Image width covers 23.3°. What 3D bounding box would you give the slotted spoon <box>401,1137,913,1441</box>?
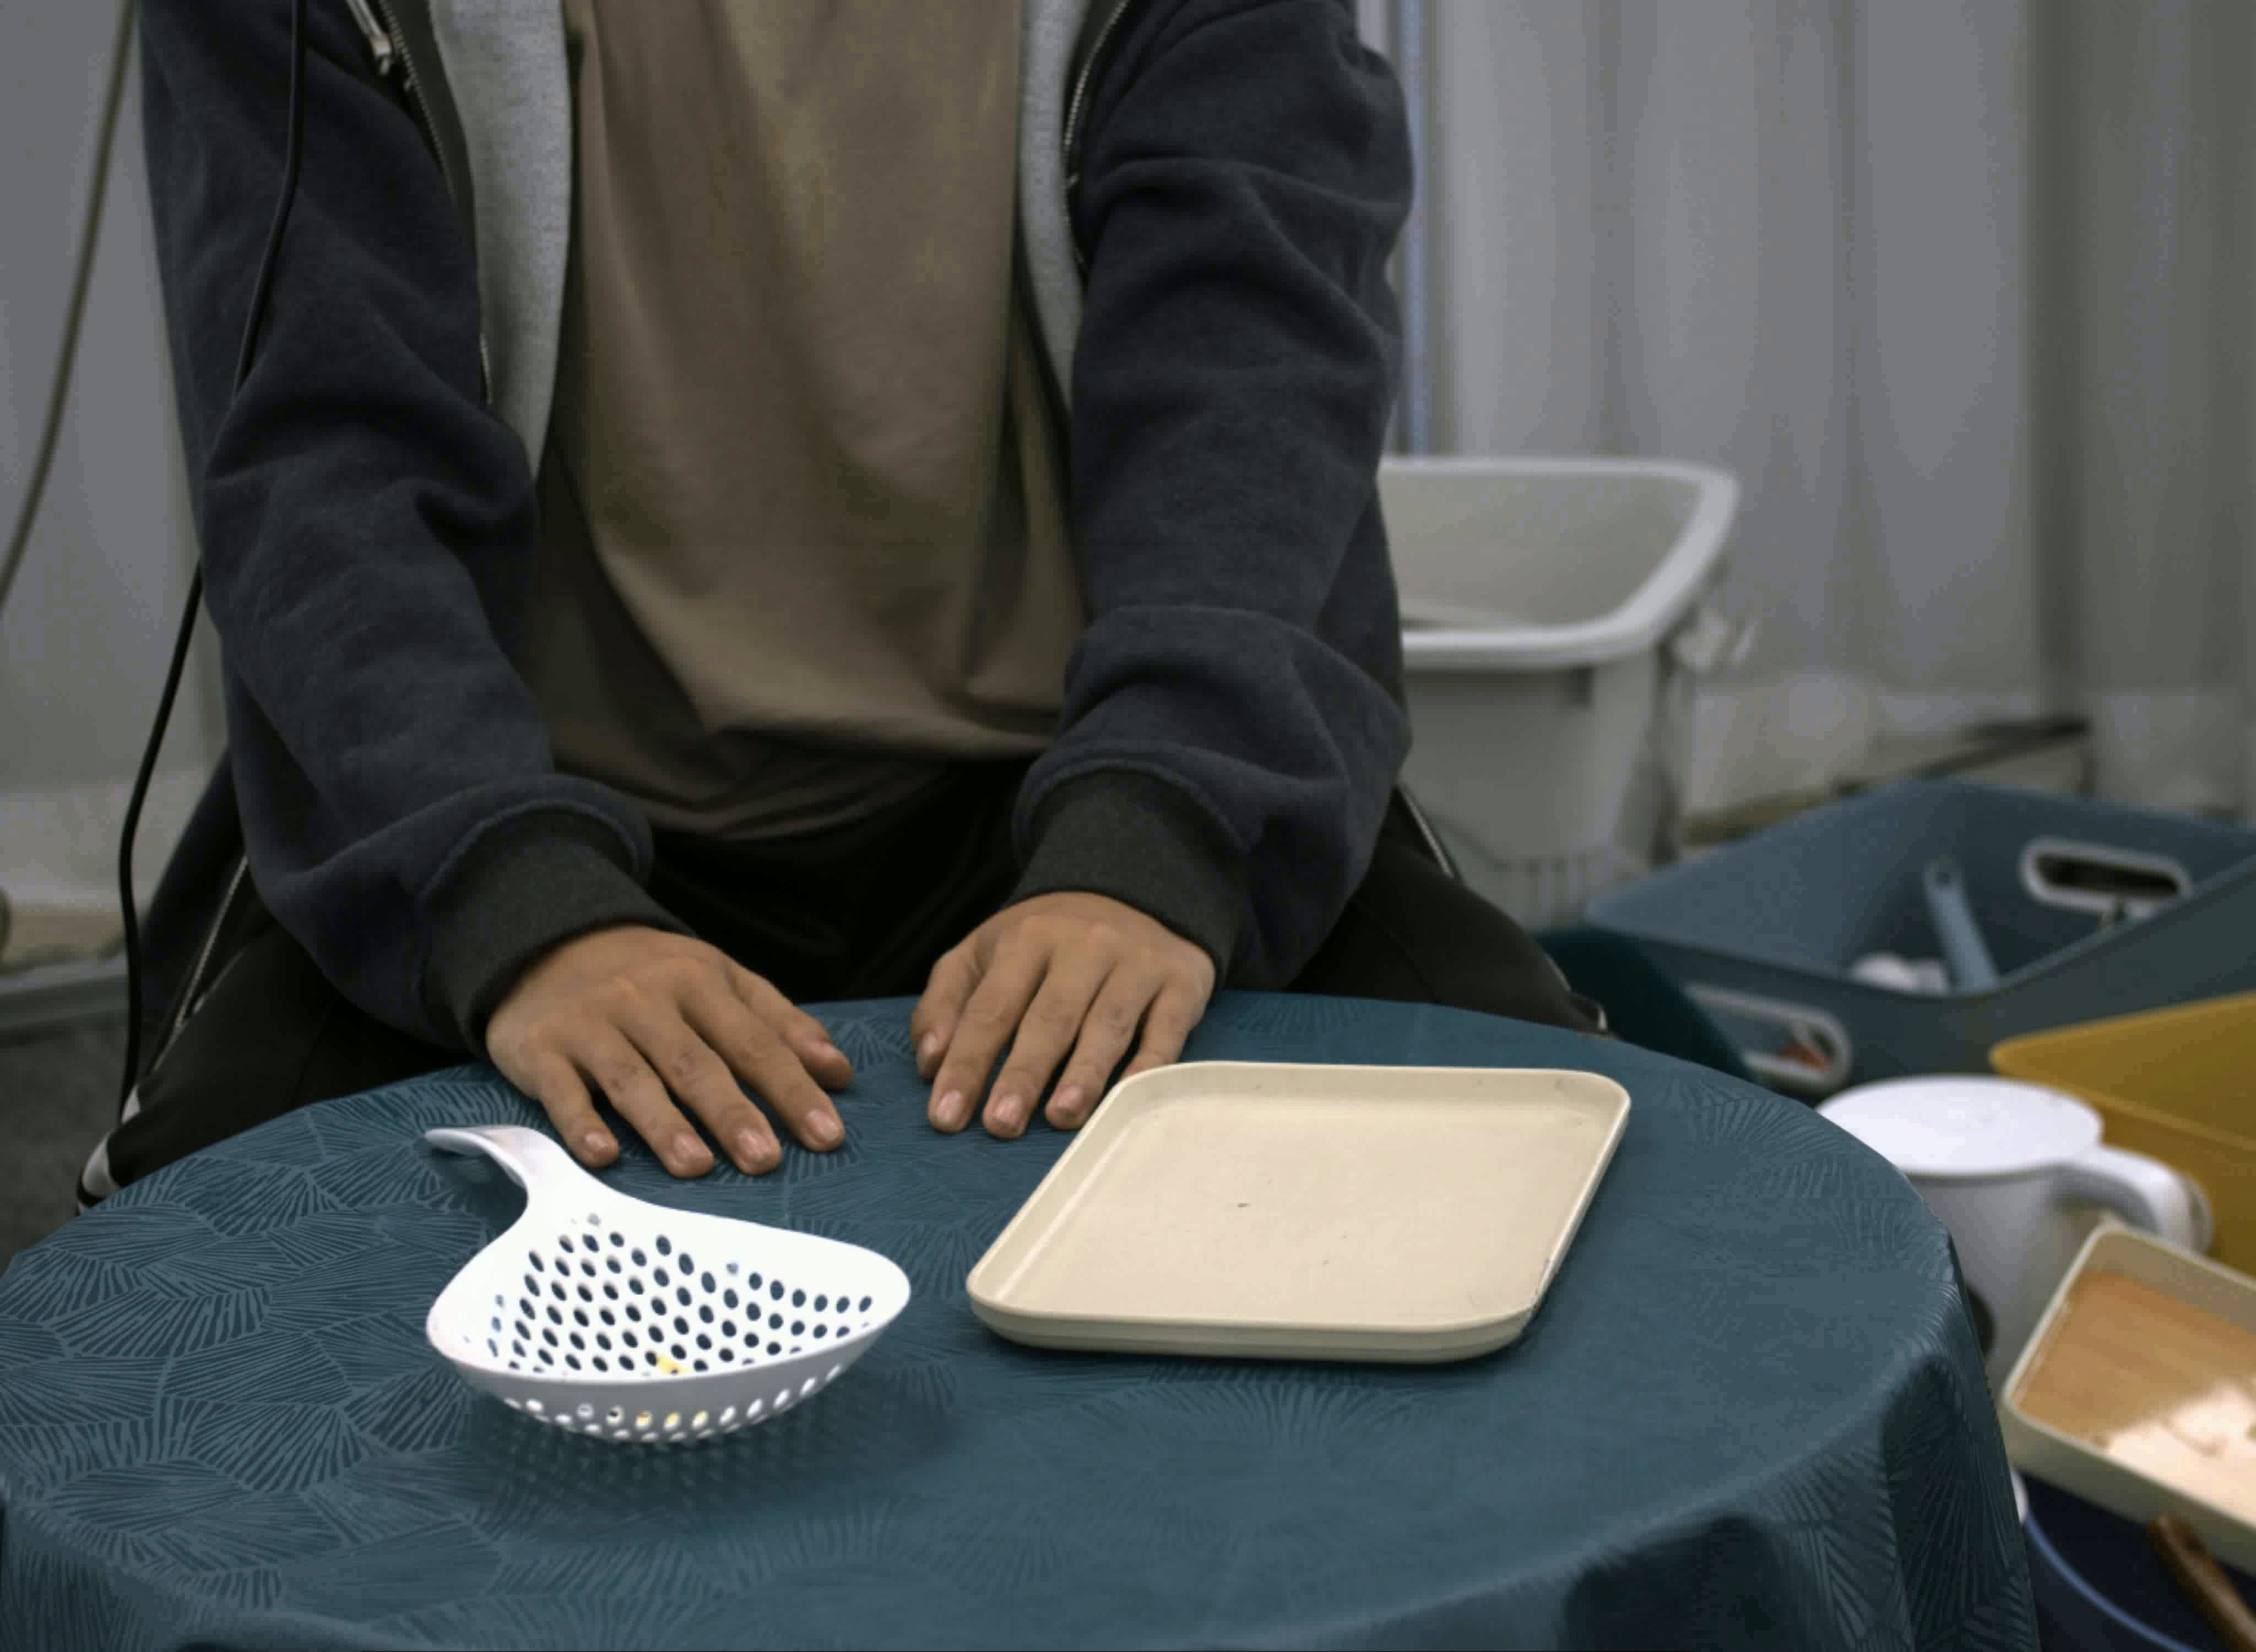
[{"bbox_3d":[-0.166,0.124,1.633,0.136,0.050,0.351,-10,17,-18],"label":"slotted spoon"}]

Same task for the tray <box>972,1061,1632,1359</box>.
[{"bbox_3d":[0.057,0.116,1.665,0.171,0.017,0.241,0,15,14],"label":"tray"}]
